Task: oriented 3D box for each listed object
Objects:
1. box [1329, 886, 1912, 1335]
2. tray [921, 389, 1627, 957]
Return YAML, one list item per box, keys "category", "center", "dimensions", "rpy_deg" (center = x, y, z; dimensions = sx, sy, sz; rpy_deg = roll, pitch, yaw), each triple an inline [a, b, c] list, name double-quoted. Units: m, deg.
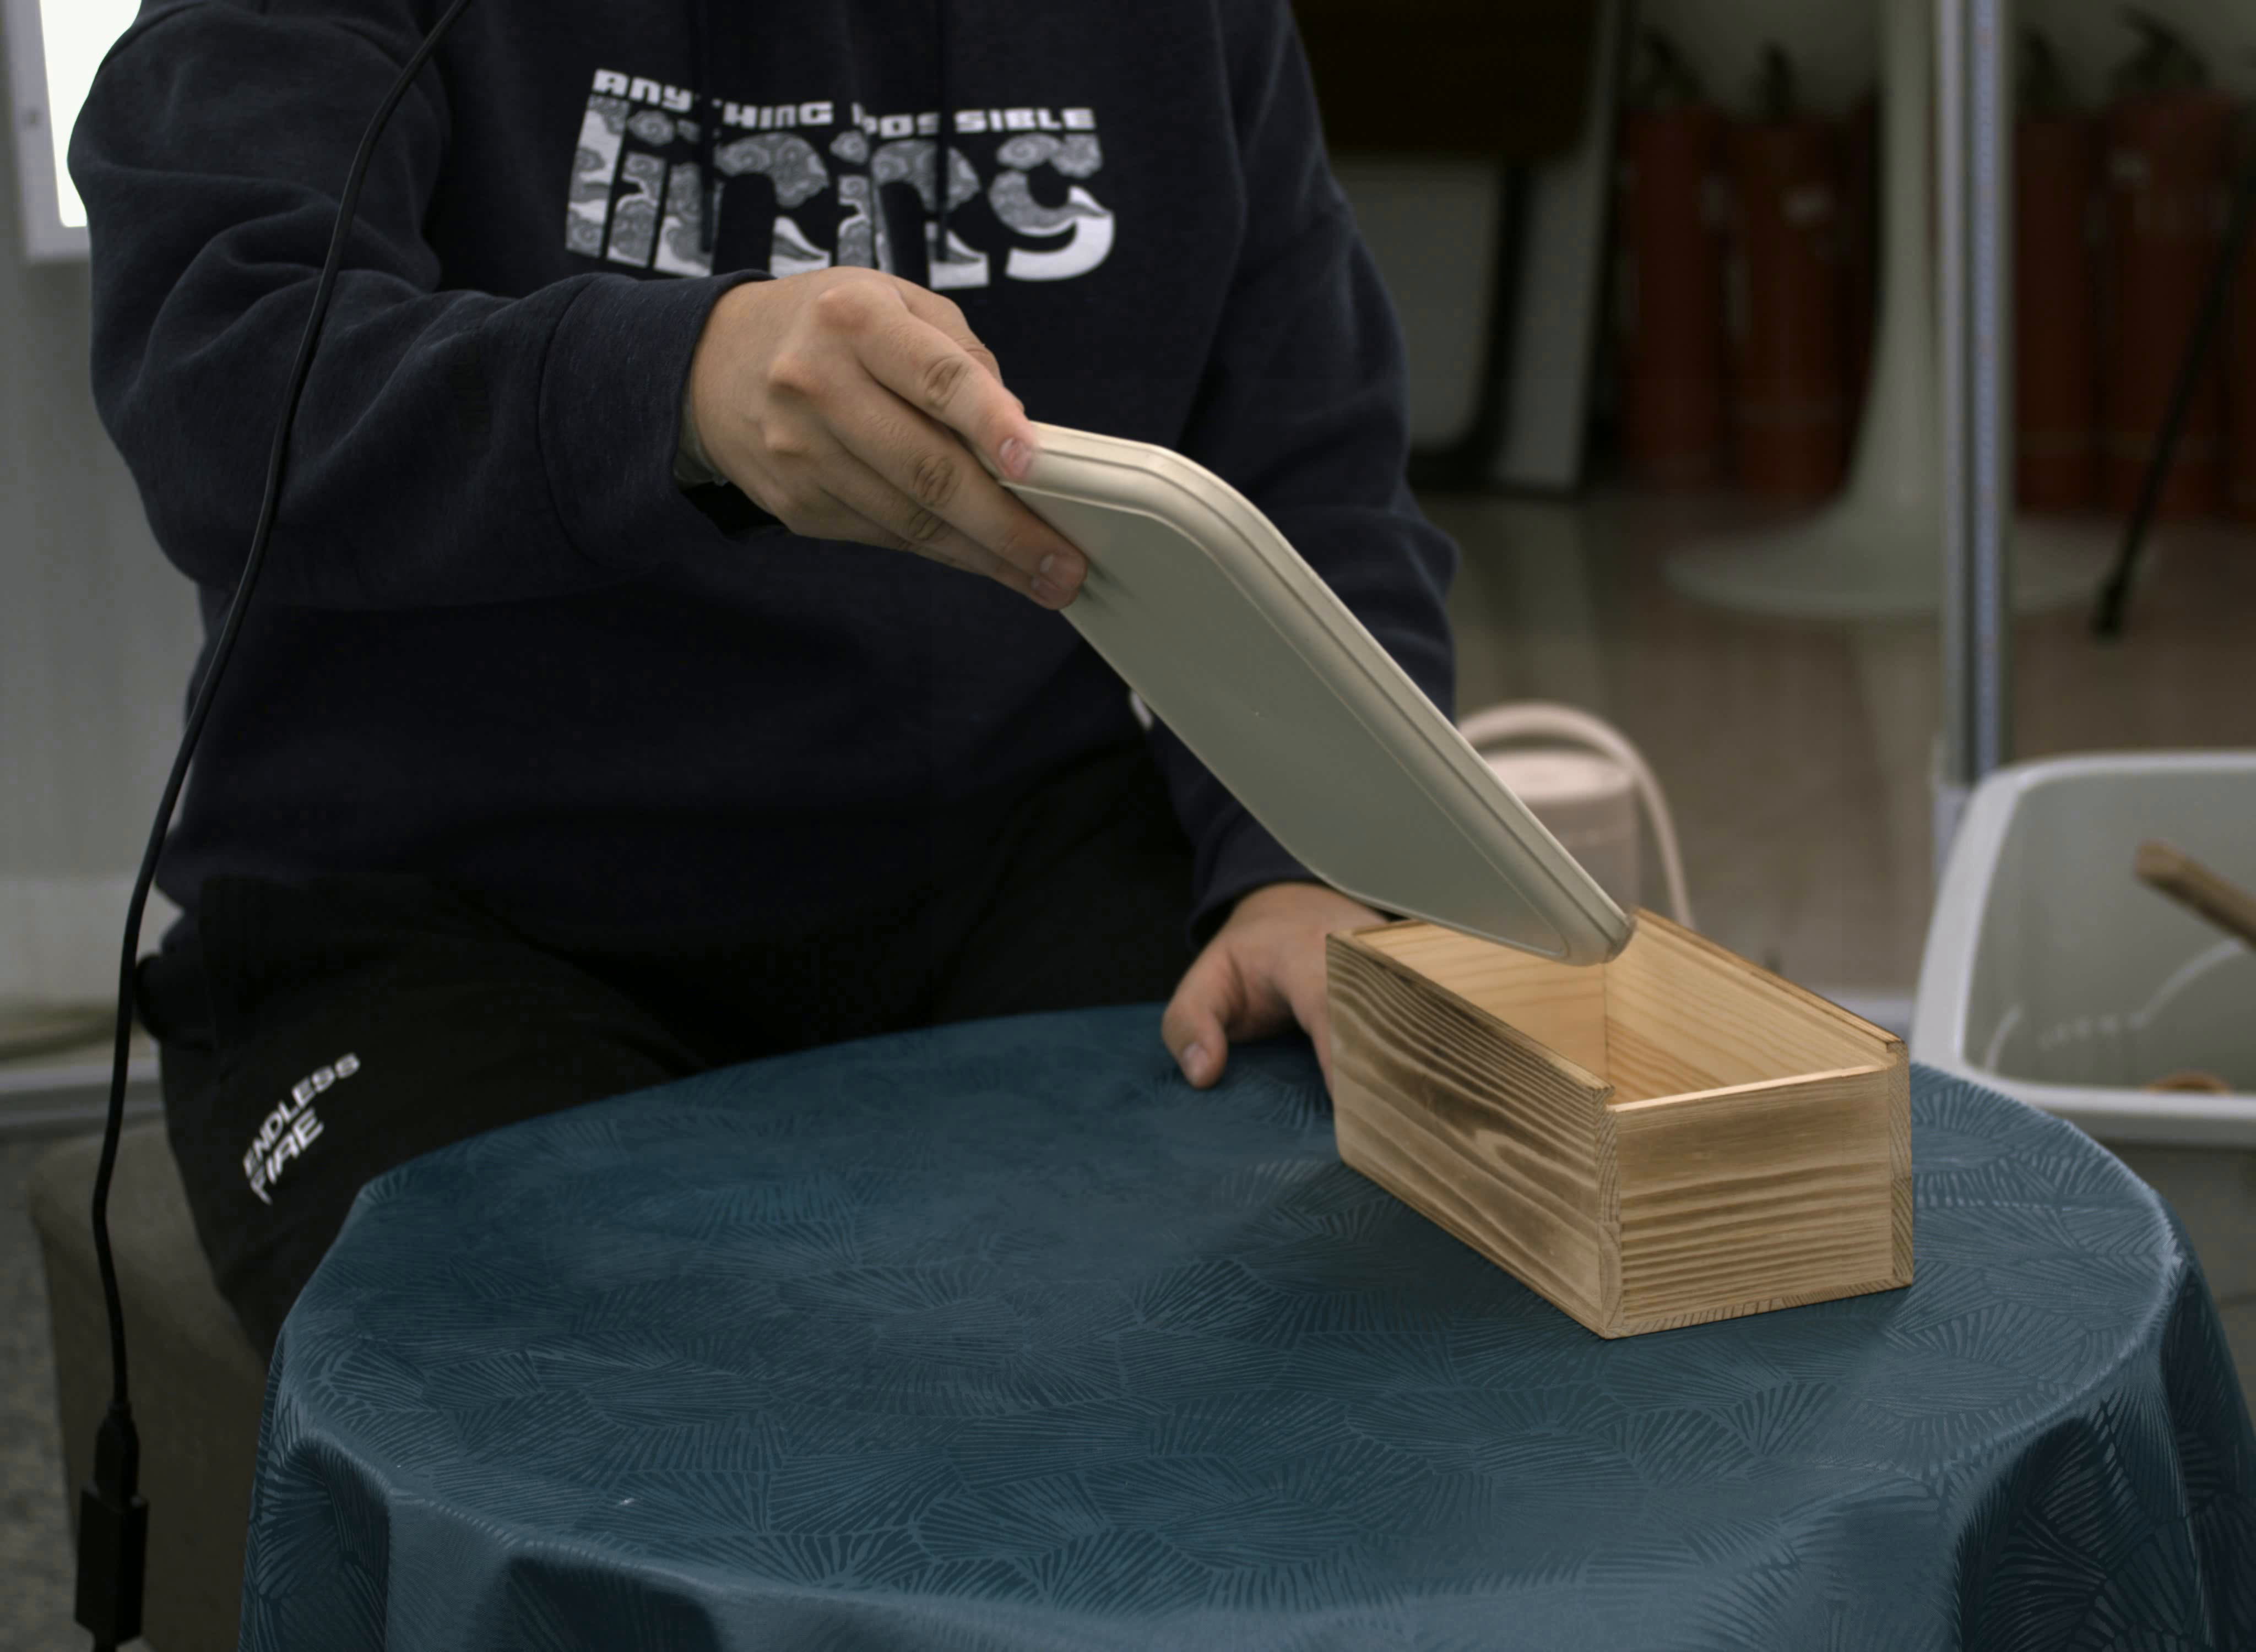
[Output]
- category: "box"
  center: [0.152, 0.086, 1.705]
  dimensions: [0.105, 0.081, 0.213]
  rpy_deg: [-8, 14, -19]
- category: "tray"
  center: [0.042, -0.043, 1.636]
  dimensions: [0.017, 0.237, 0.173]
  rpy_deg: [-52, 31, -14]
